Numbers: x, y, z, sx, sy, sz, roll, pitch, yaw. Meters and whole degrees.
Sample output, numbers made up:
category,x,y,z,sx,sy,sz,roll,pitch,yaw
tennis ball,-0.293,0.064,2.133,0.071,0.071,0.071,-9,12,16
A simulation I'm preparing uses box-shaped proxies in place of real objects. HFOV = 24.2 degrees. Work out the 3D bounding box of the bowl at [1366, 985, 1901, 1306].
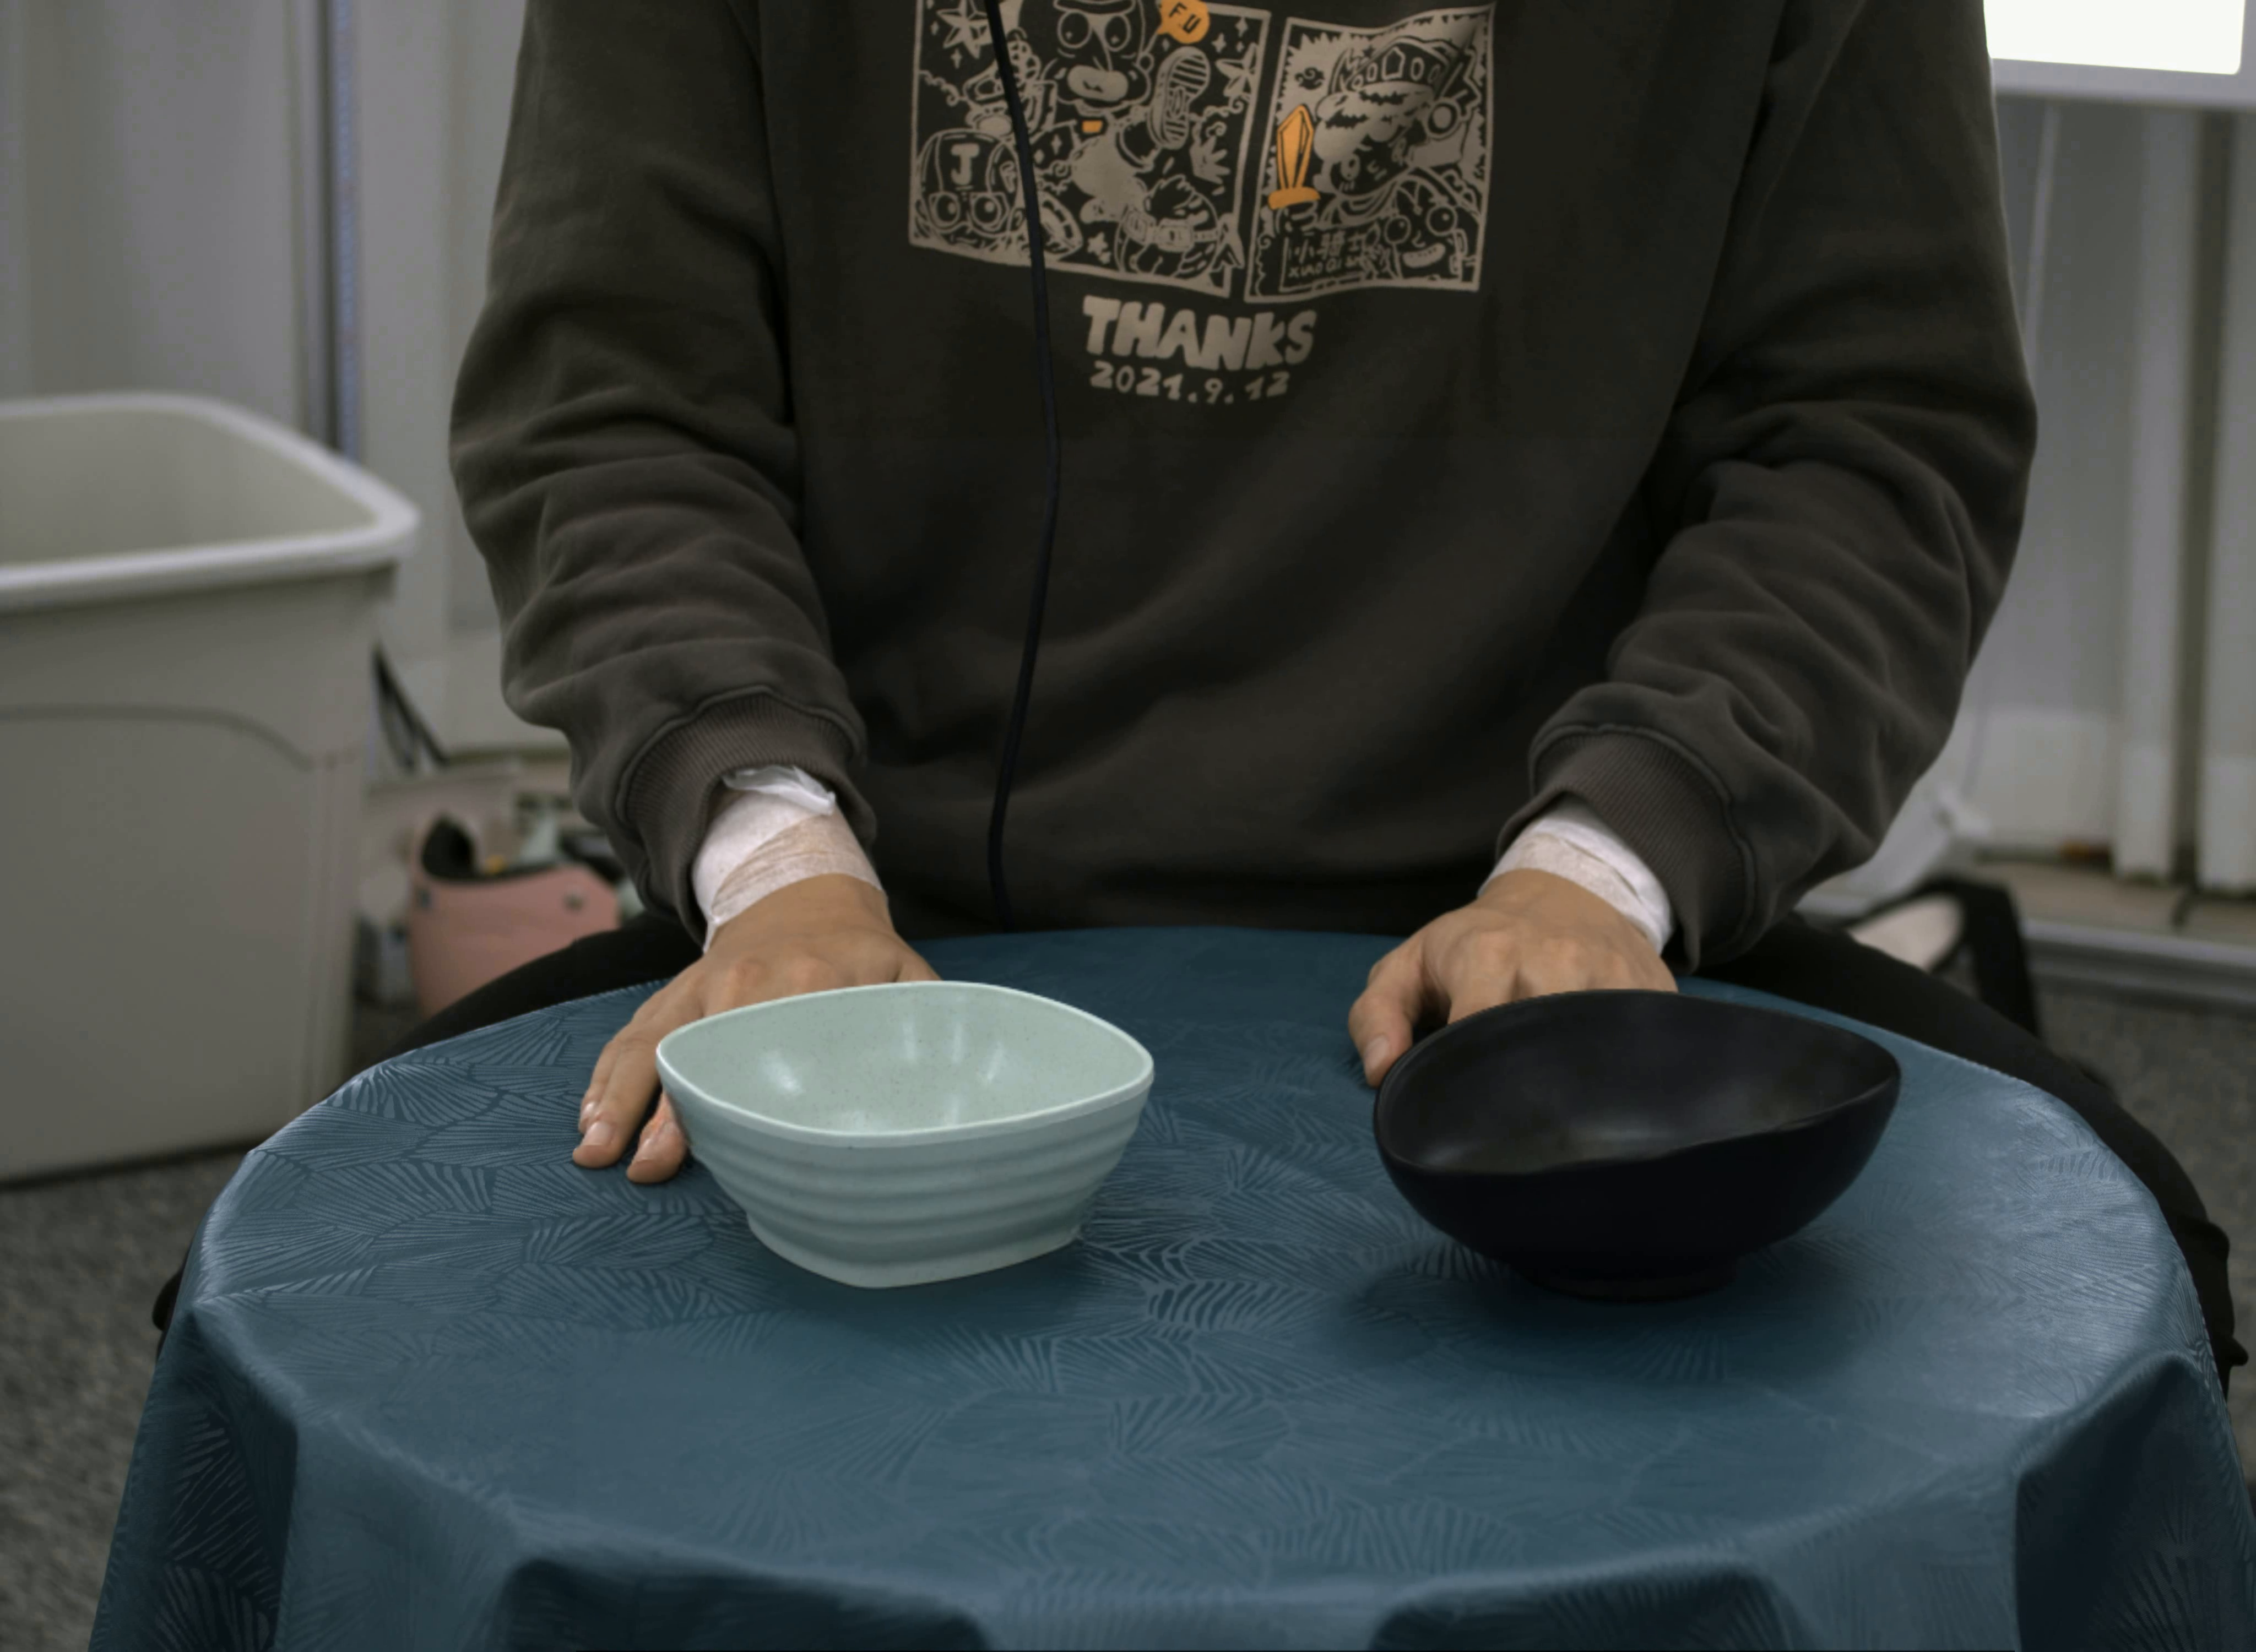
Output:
category,x,y,z,sx,sy,sz,roll,pitch,yaw
bowl,0.150,0.101,1.561,0.171,0.067,0.135,-12,20,-35

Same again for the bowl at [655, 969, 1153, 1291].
category,x,y,z,sx,sy,sz,roll,pitch,yaw
bowl,-0.068,0.095,1.583,0.151,0.059,0.150,2,18,0
